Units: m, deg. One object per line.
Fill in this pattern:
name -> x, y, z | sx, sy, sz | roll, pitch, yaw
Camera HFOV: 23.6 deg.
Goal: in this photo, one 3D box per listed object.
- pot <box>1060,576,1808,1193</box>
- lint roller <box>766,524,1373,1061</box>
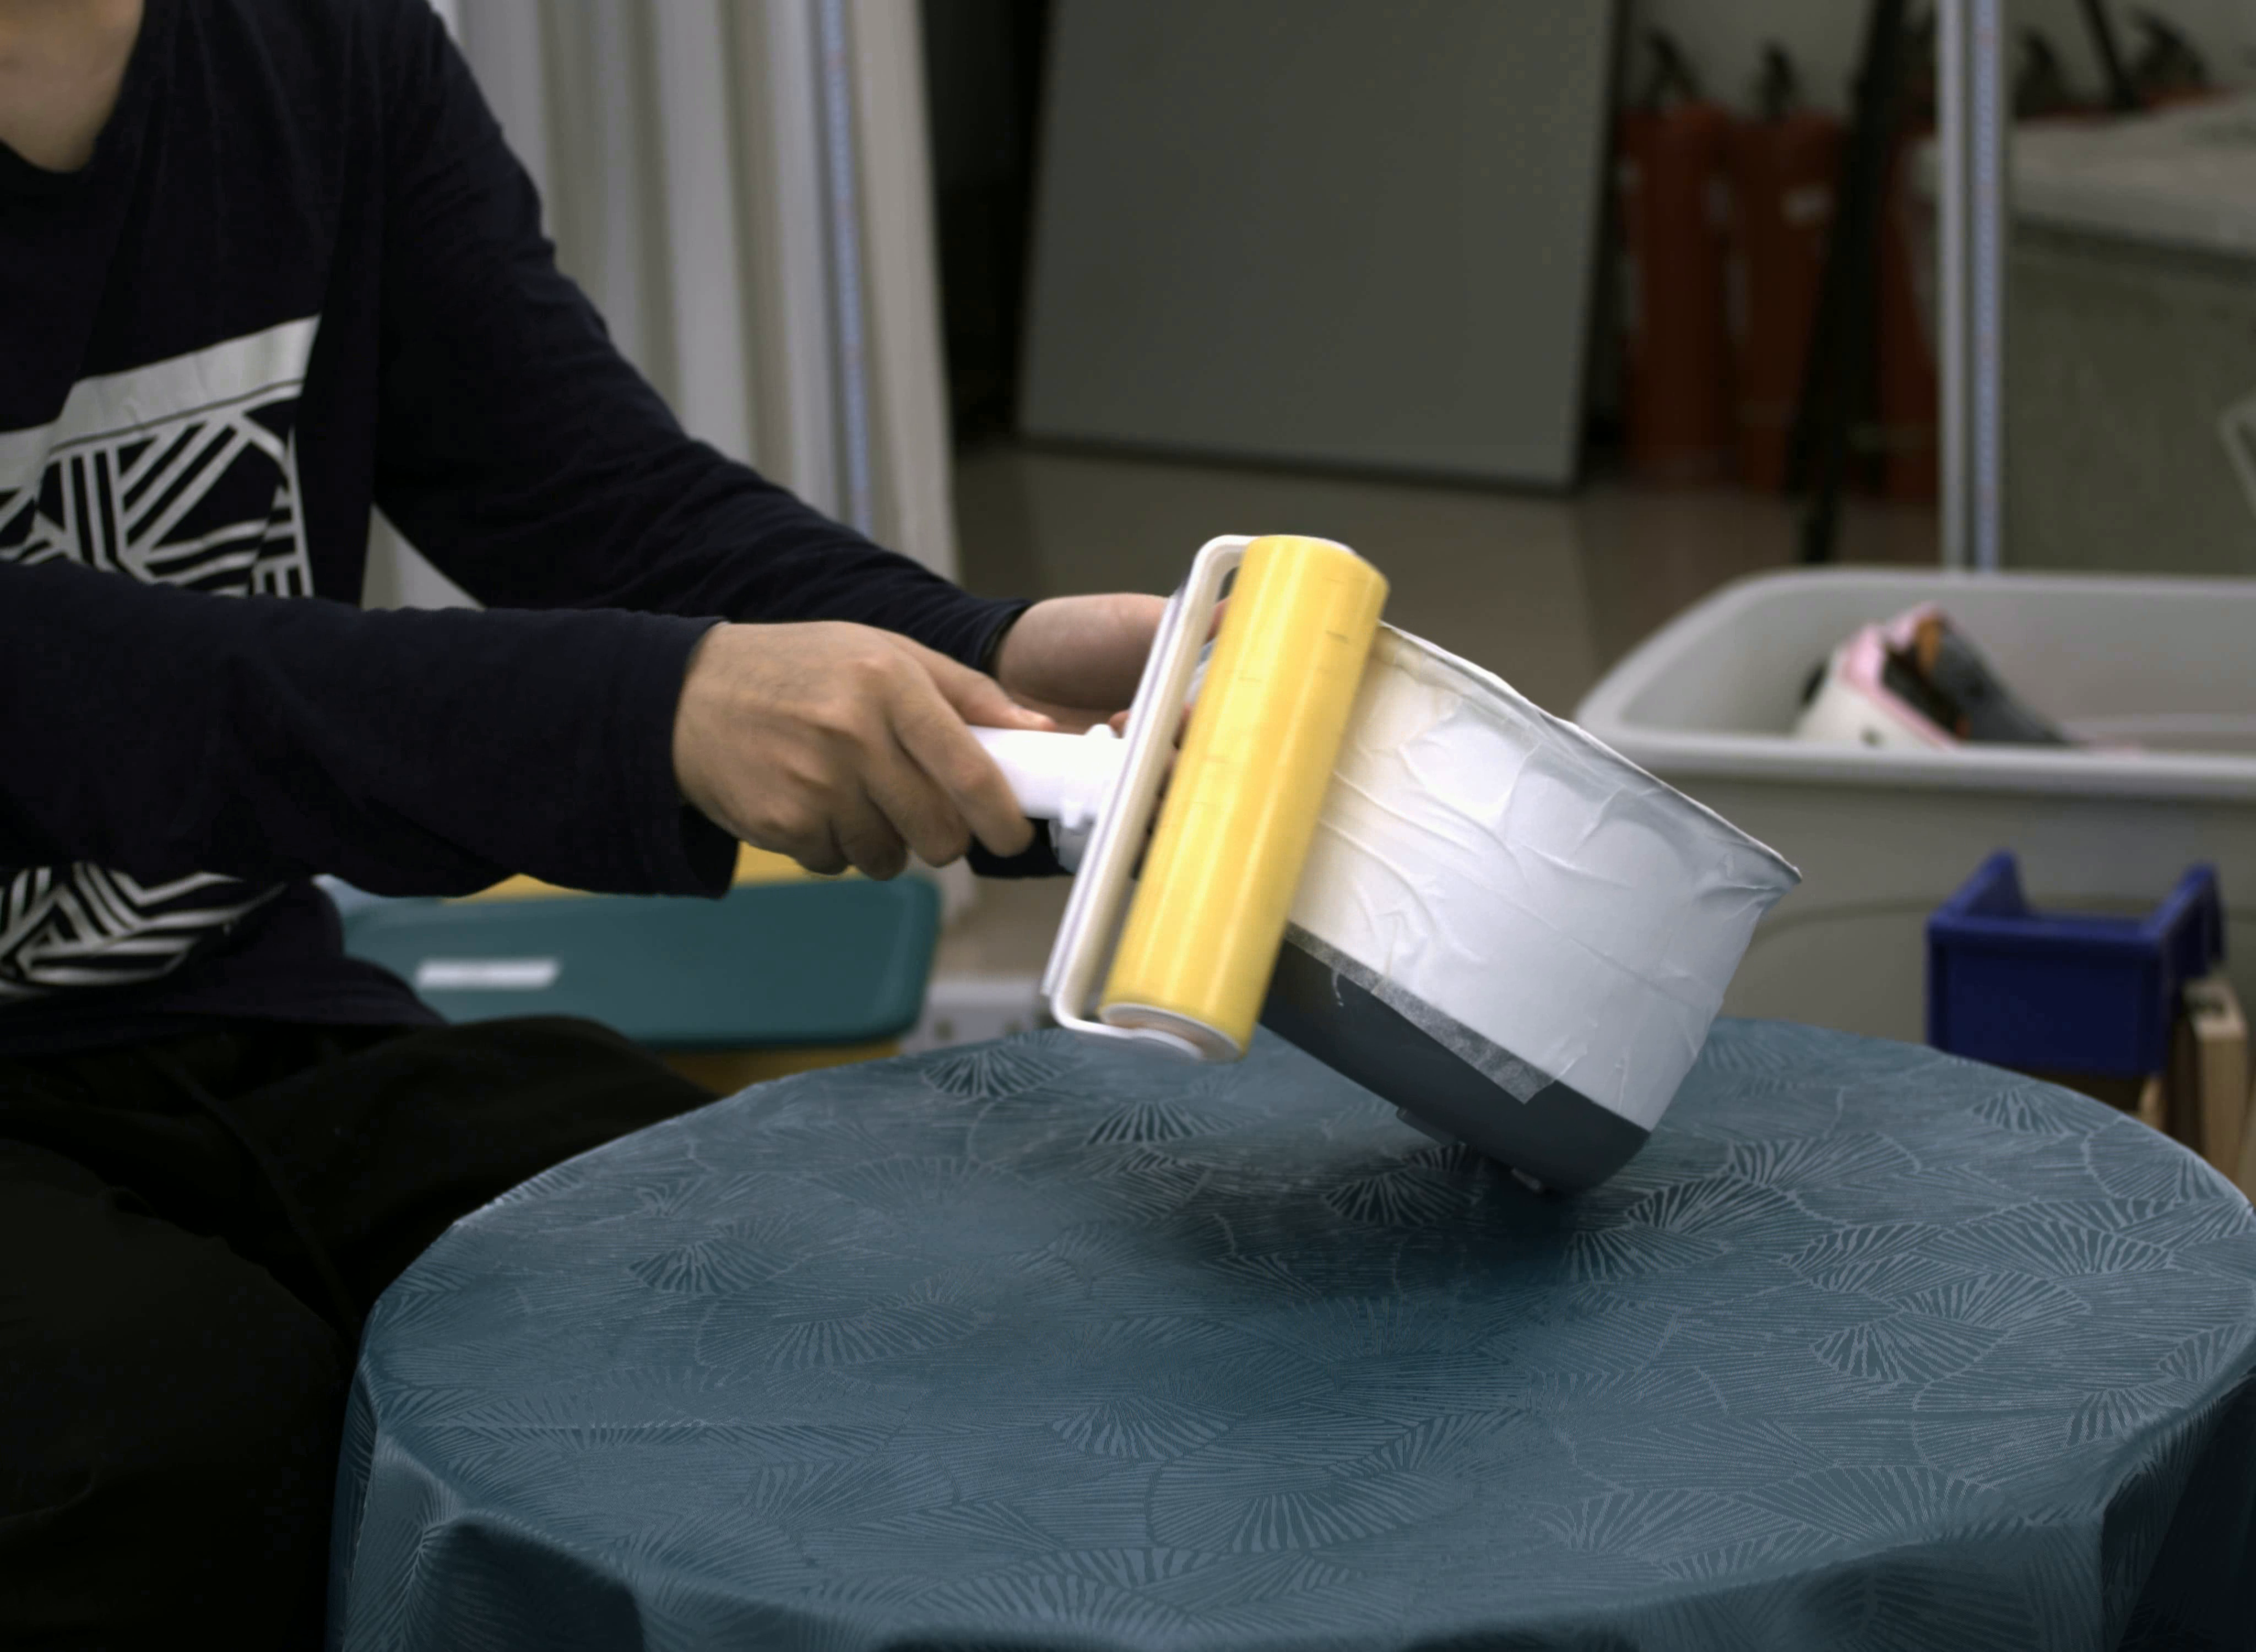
pot -> 0.089, 0.009, 1.740 | 0.235, 0.137, 0.176 | 33, -1, 28
lint roller -> -0.032, -0.019, 1.685 | 0.192, 0.175, 0.051 | 8, -24, 22
